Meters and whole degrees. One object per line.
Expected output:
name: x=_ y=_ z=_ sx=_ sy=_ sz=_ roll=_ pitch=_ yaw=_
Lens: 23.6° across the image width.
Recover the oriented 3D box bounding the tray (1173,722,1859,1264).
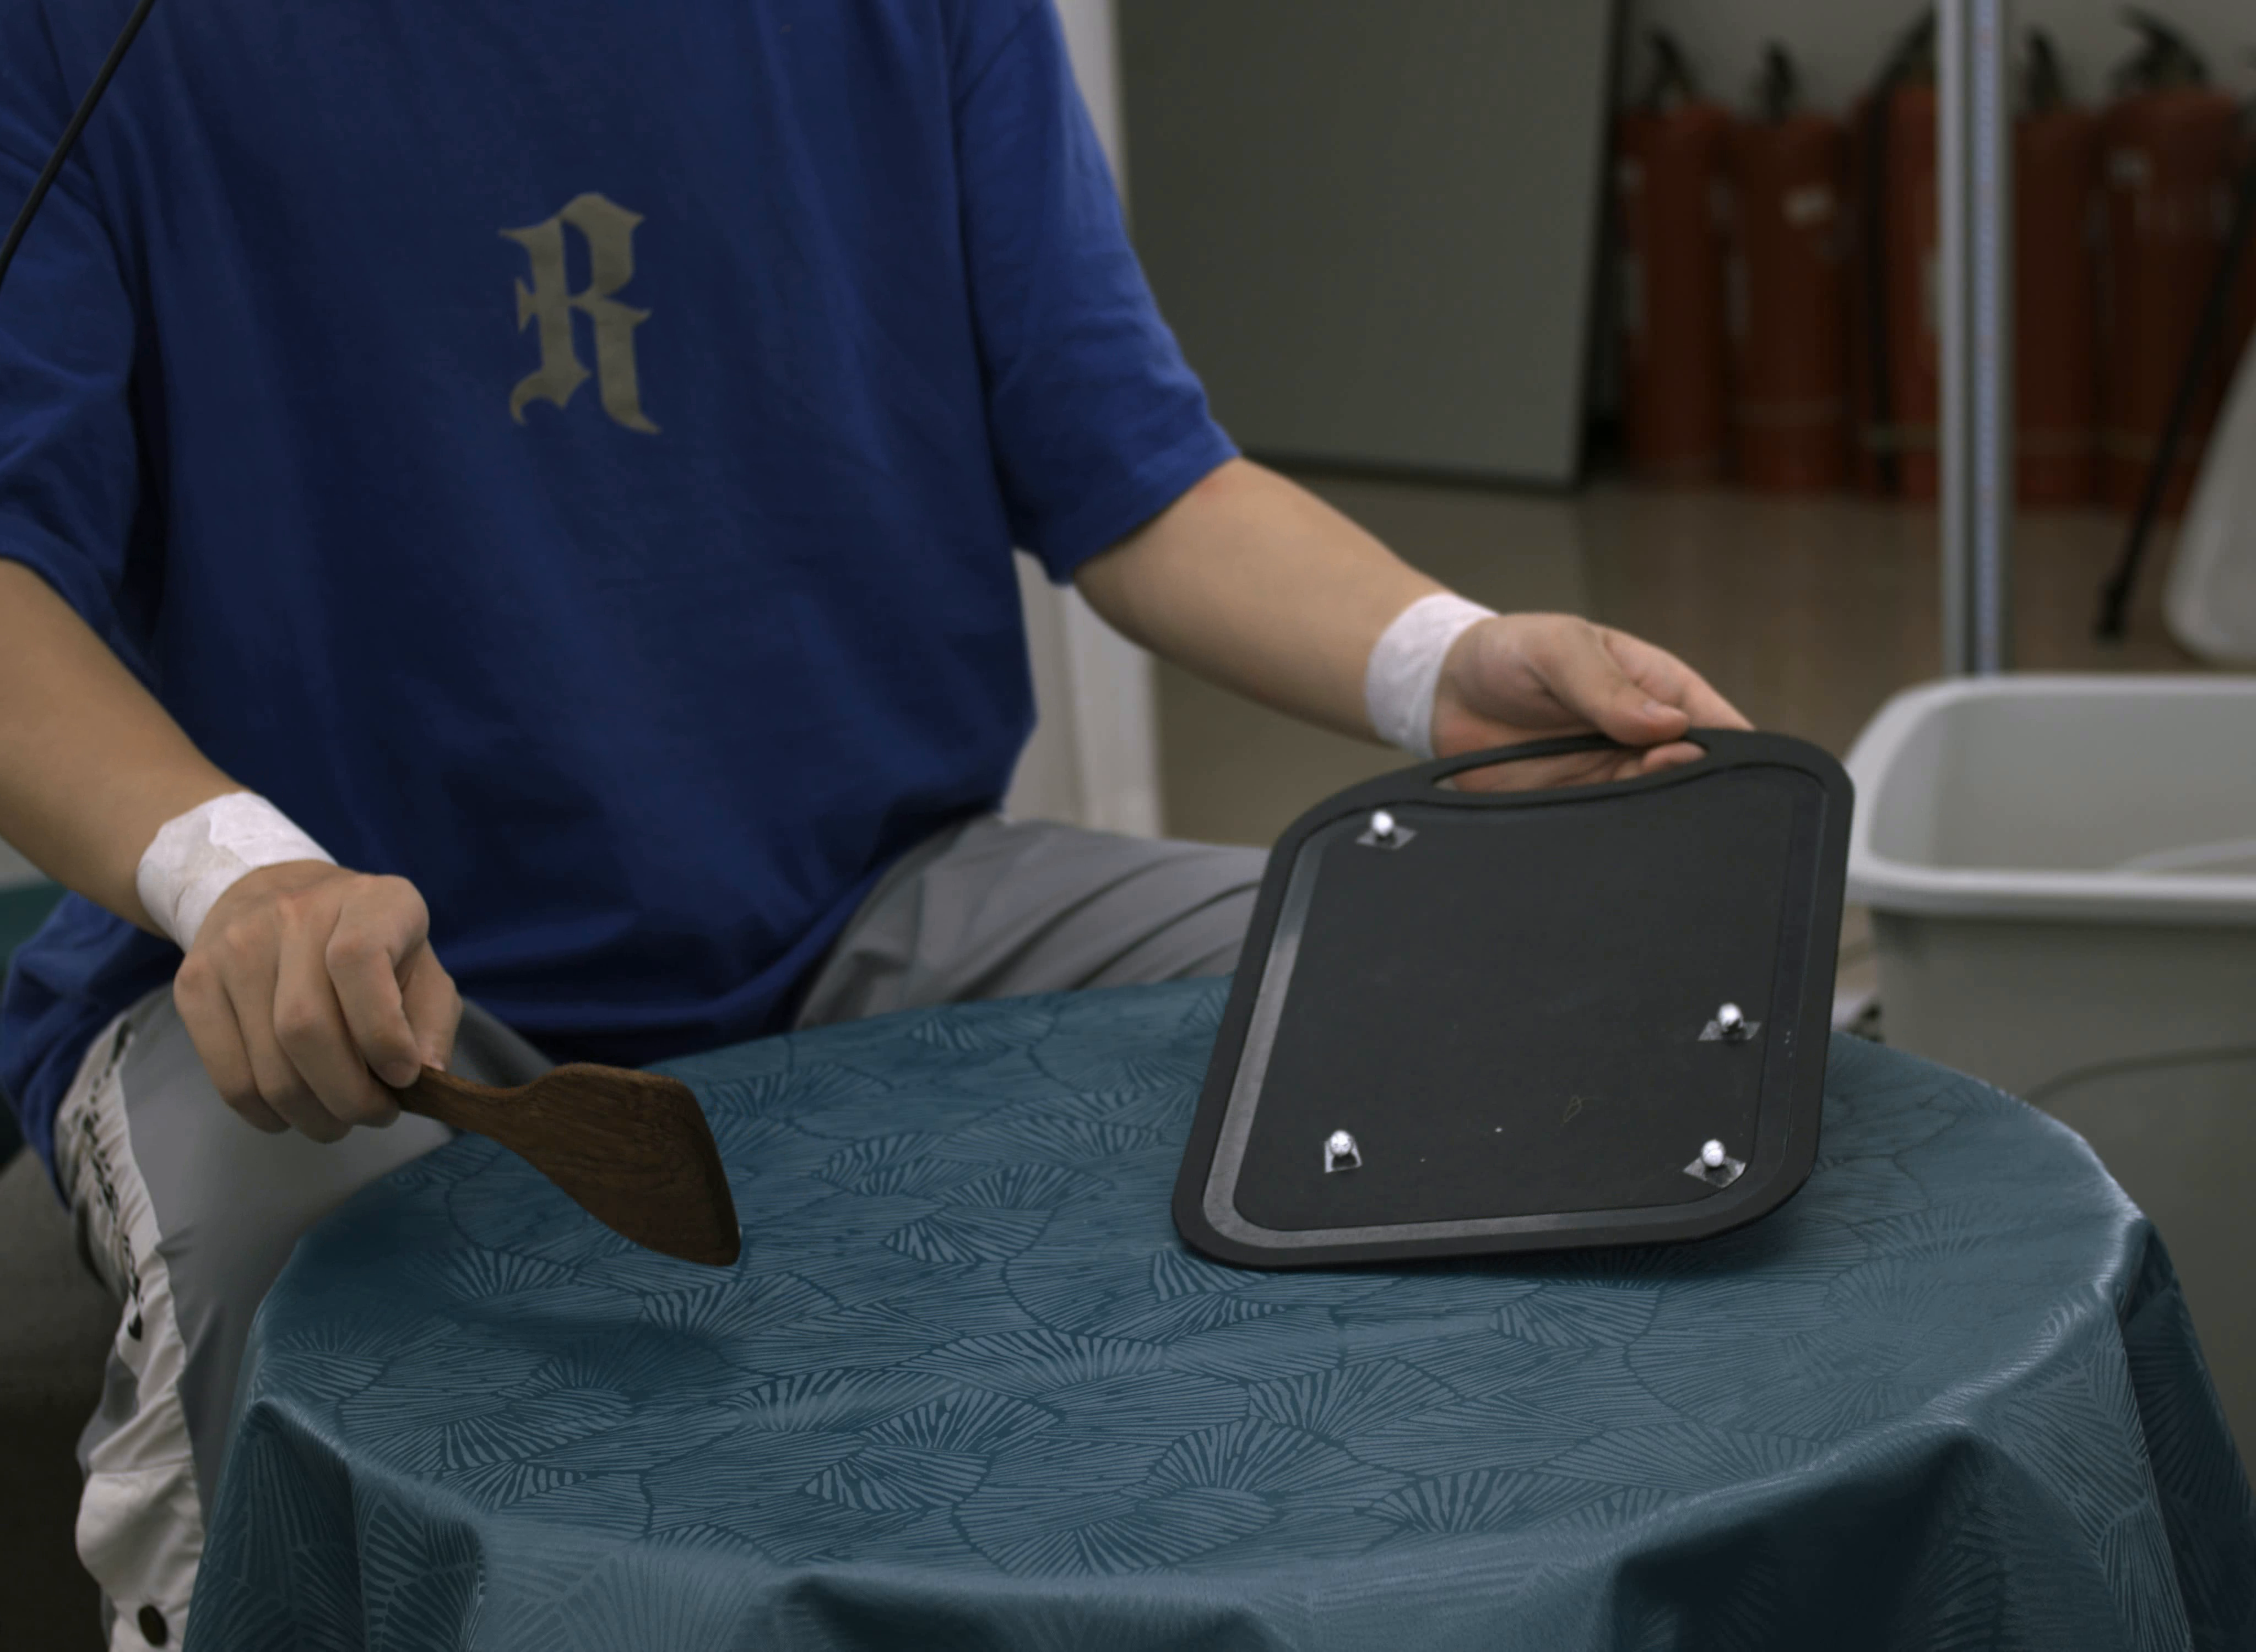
tray: x=0.135 y=0.047 z=1.800 sx=0.210 sy=0.010 sz=0.325 roll=-6 pitch=29 yaw=16

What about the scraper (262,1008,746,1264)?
scraper: x=-0.202 y=0.089 z=1.703 sx=0.213 sy=0.076 sz=0.011 roll=13 pitch=42 yaw=41
